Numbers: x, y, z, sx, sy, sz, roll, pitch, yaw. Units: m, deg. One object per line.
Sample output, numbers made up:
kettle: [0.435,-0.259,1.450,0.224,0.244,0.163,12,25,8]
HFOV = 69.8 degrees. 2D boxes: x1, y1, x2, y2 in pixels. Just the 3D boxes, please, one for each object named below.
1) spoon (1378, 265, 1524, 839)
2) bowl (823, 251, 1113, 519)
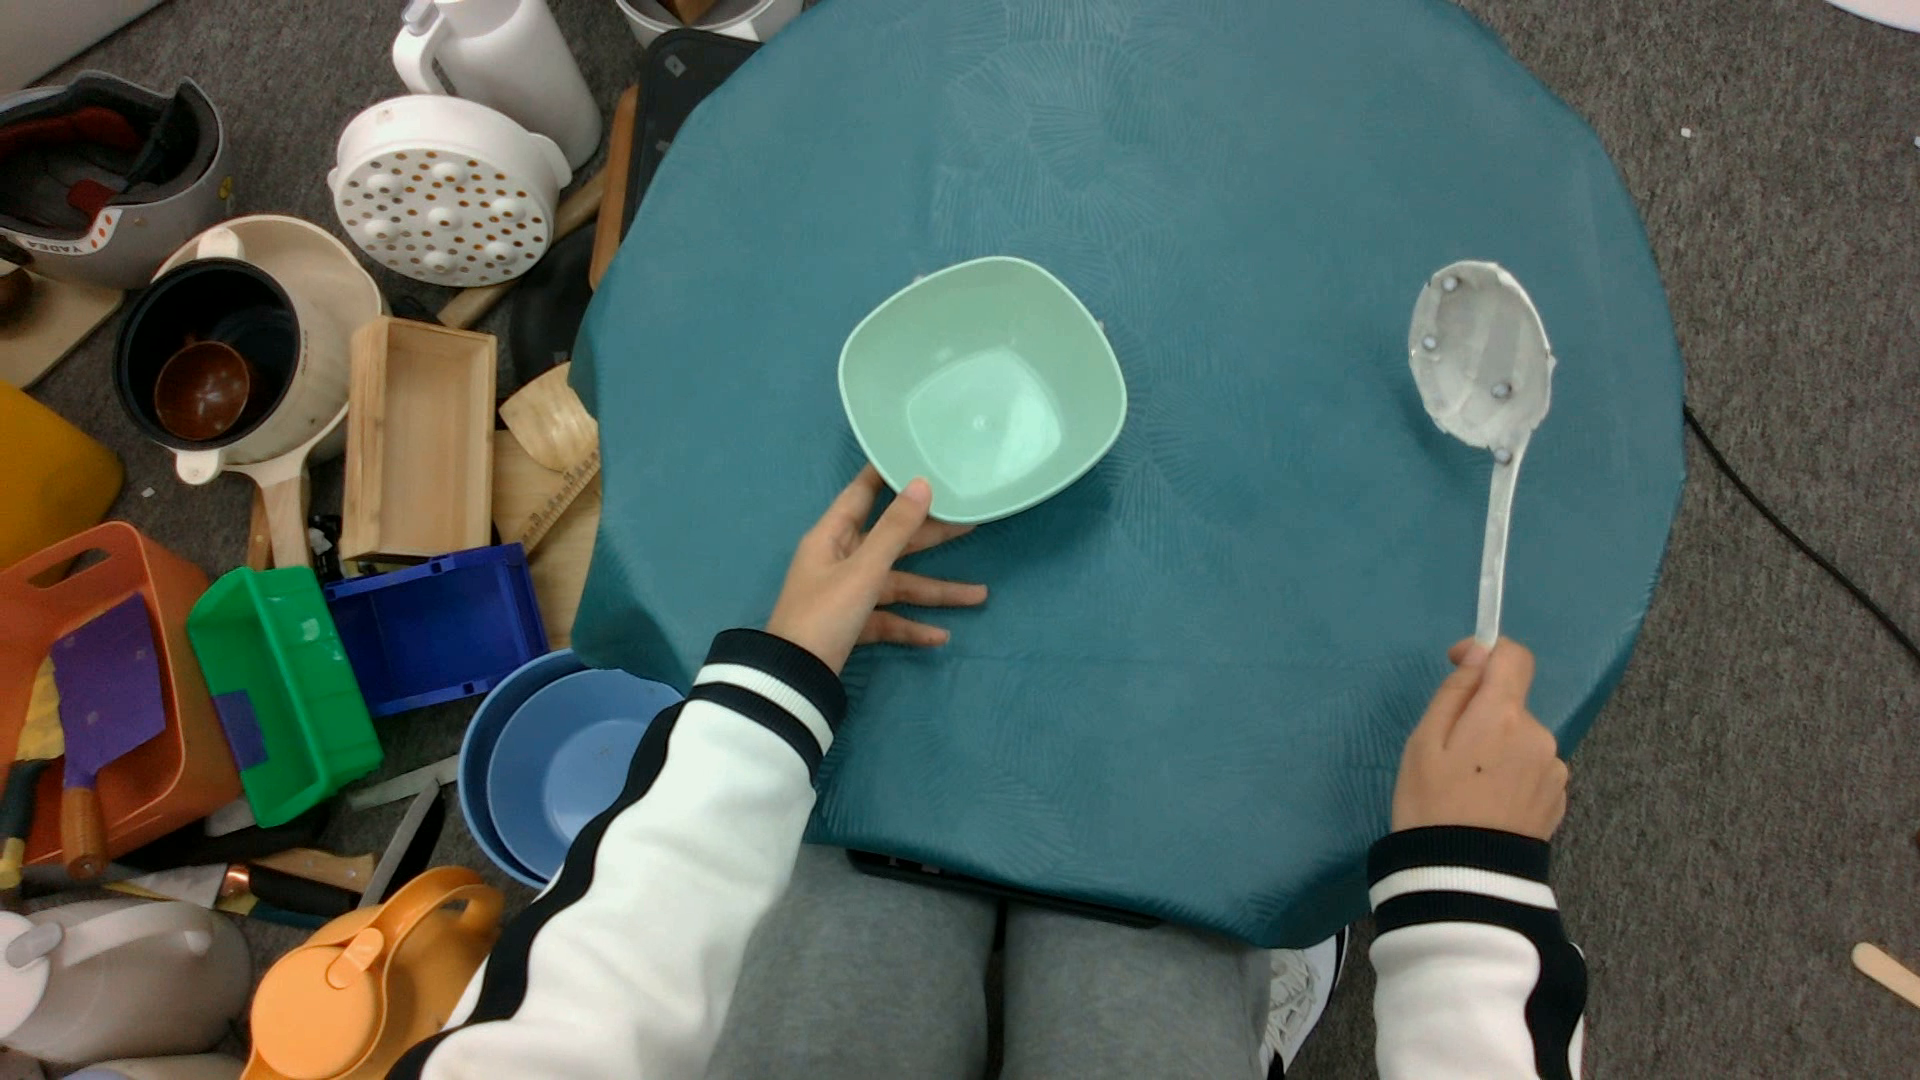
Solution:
spoon: [0.222,0.002,0.672,0.059,0.100,0.278,18,76,-11]
bowl: [0.005,-0.074,0.732,0.151,0.058,0.152,-1,72,2]
